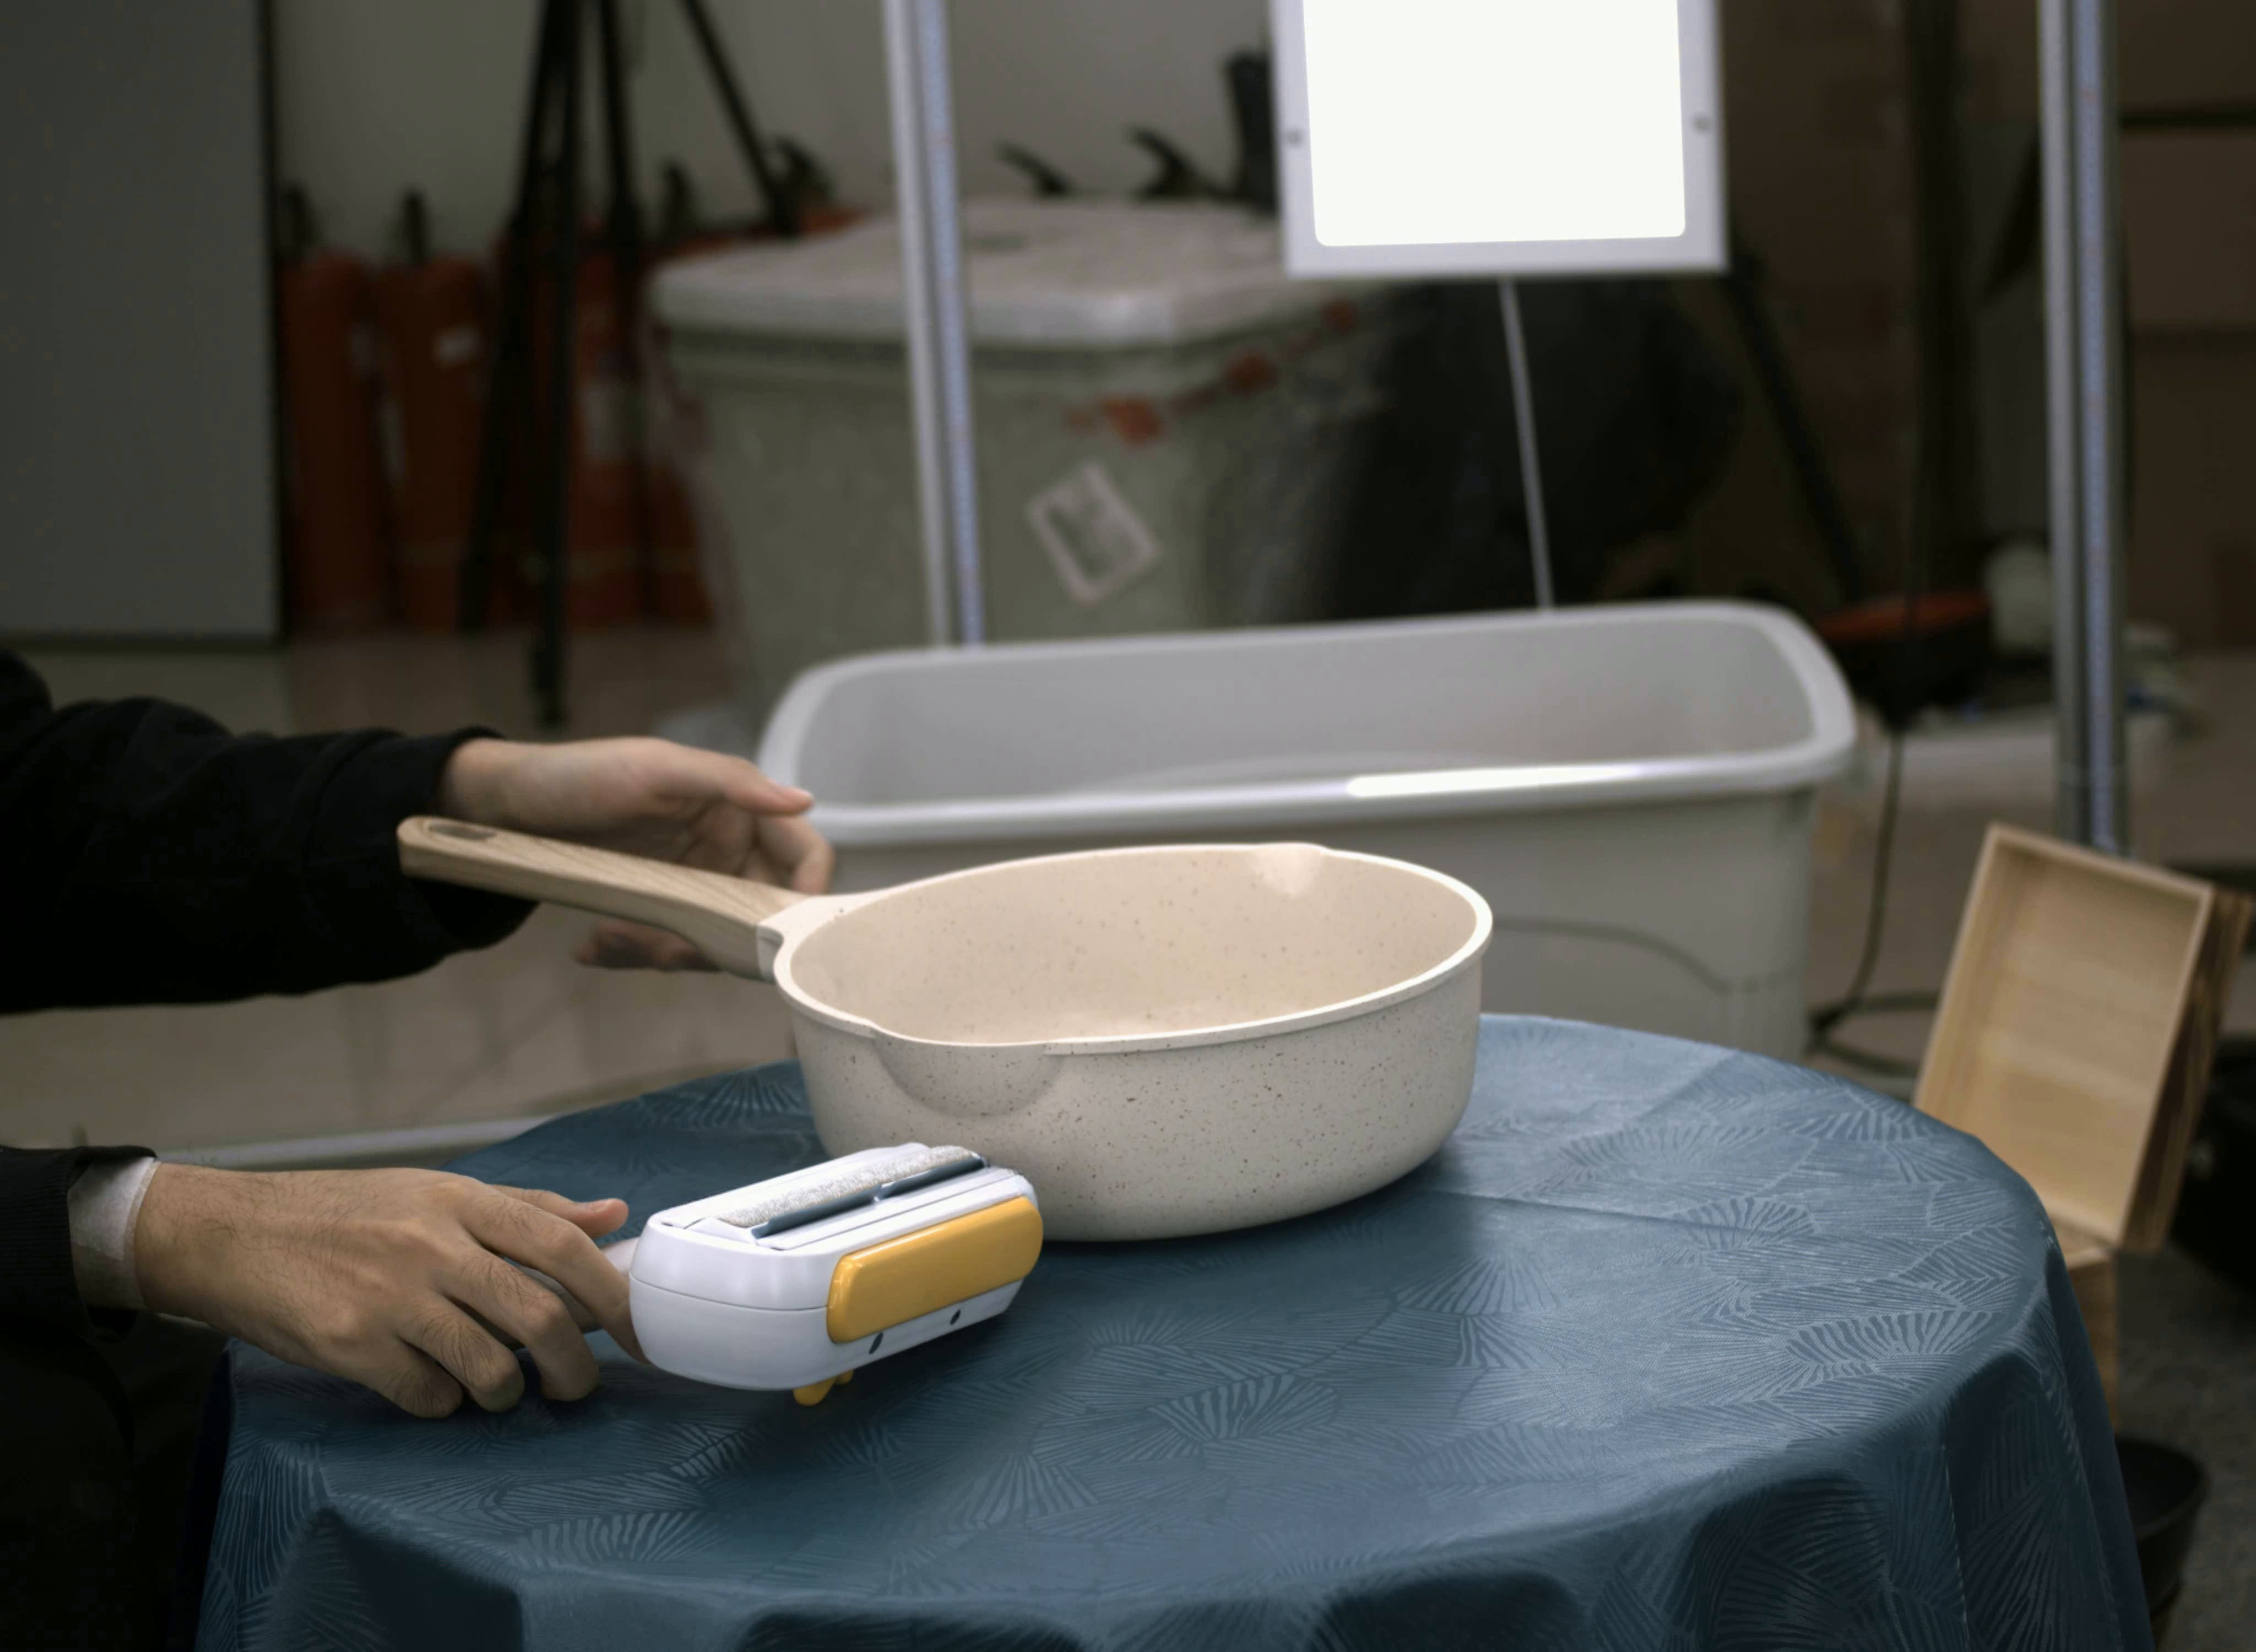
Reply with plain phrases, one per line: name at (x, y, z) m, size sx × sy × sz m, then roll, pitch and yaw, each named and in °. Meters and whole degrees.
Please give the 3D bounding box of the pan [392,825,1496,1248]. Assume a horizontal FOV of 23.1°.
pan at (-0.075, 0.064, 1.968) m, size 0.443 × 0.102 × 0.257 m, roll 3°, pitch 19°, yaw 30°

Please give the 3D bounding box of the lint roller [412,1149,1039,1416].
lint roller at (-0.144, 0.143, 1.739) m, size 0.196 × 0.074 × 0.188 m, roll 1°, pitch 10°, yaw 29°
